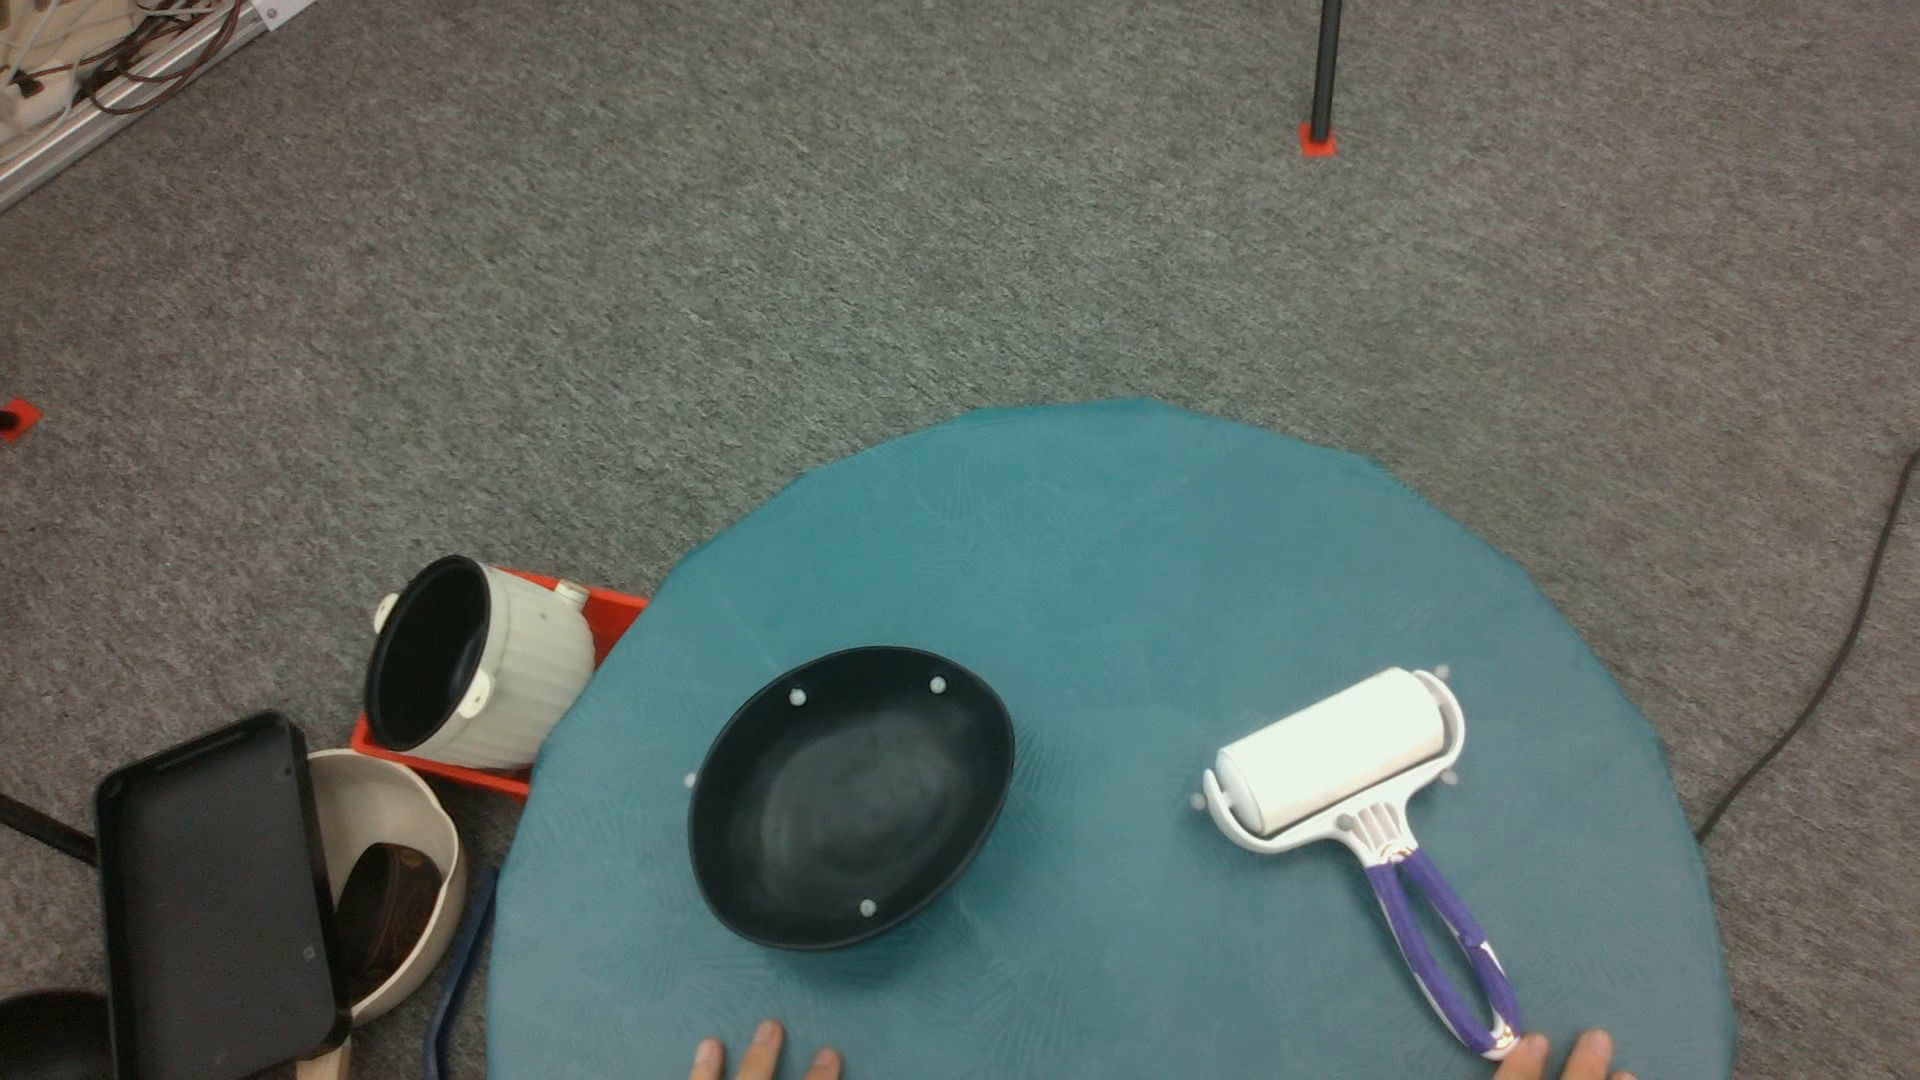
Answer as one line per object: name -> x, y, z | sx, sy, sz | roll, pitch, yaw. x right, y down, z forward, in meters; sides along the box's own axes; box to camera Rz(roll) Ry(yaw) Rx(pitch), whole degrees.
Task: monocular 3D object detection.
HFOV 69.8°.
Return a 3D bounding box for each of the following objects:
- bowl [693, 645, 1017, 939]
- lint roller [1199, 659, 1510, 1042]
bowl -> -0.050, 0.129, 0.696 | 0.171, 0.066, 0.137 | -37, 66, -15
lint roller -> 0.208, 0.154, 0.666 | 0.133, 0.050, 0.181 | -22, 60, -7
